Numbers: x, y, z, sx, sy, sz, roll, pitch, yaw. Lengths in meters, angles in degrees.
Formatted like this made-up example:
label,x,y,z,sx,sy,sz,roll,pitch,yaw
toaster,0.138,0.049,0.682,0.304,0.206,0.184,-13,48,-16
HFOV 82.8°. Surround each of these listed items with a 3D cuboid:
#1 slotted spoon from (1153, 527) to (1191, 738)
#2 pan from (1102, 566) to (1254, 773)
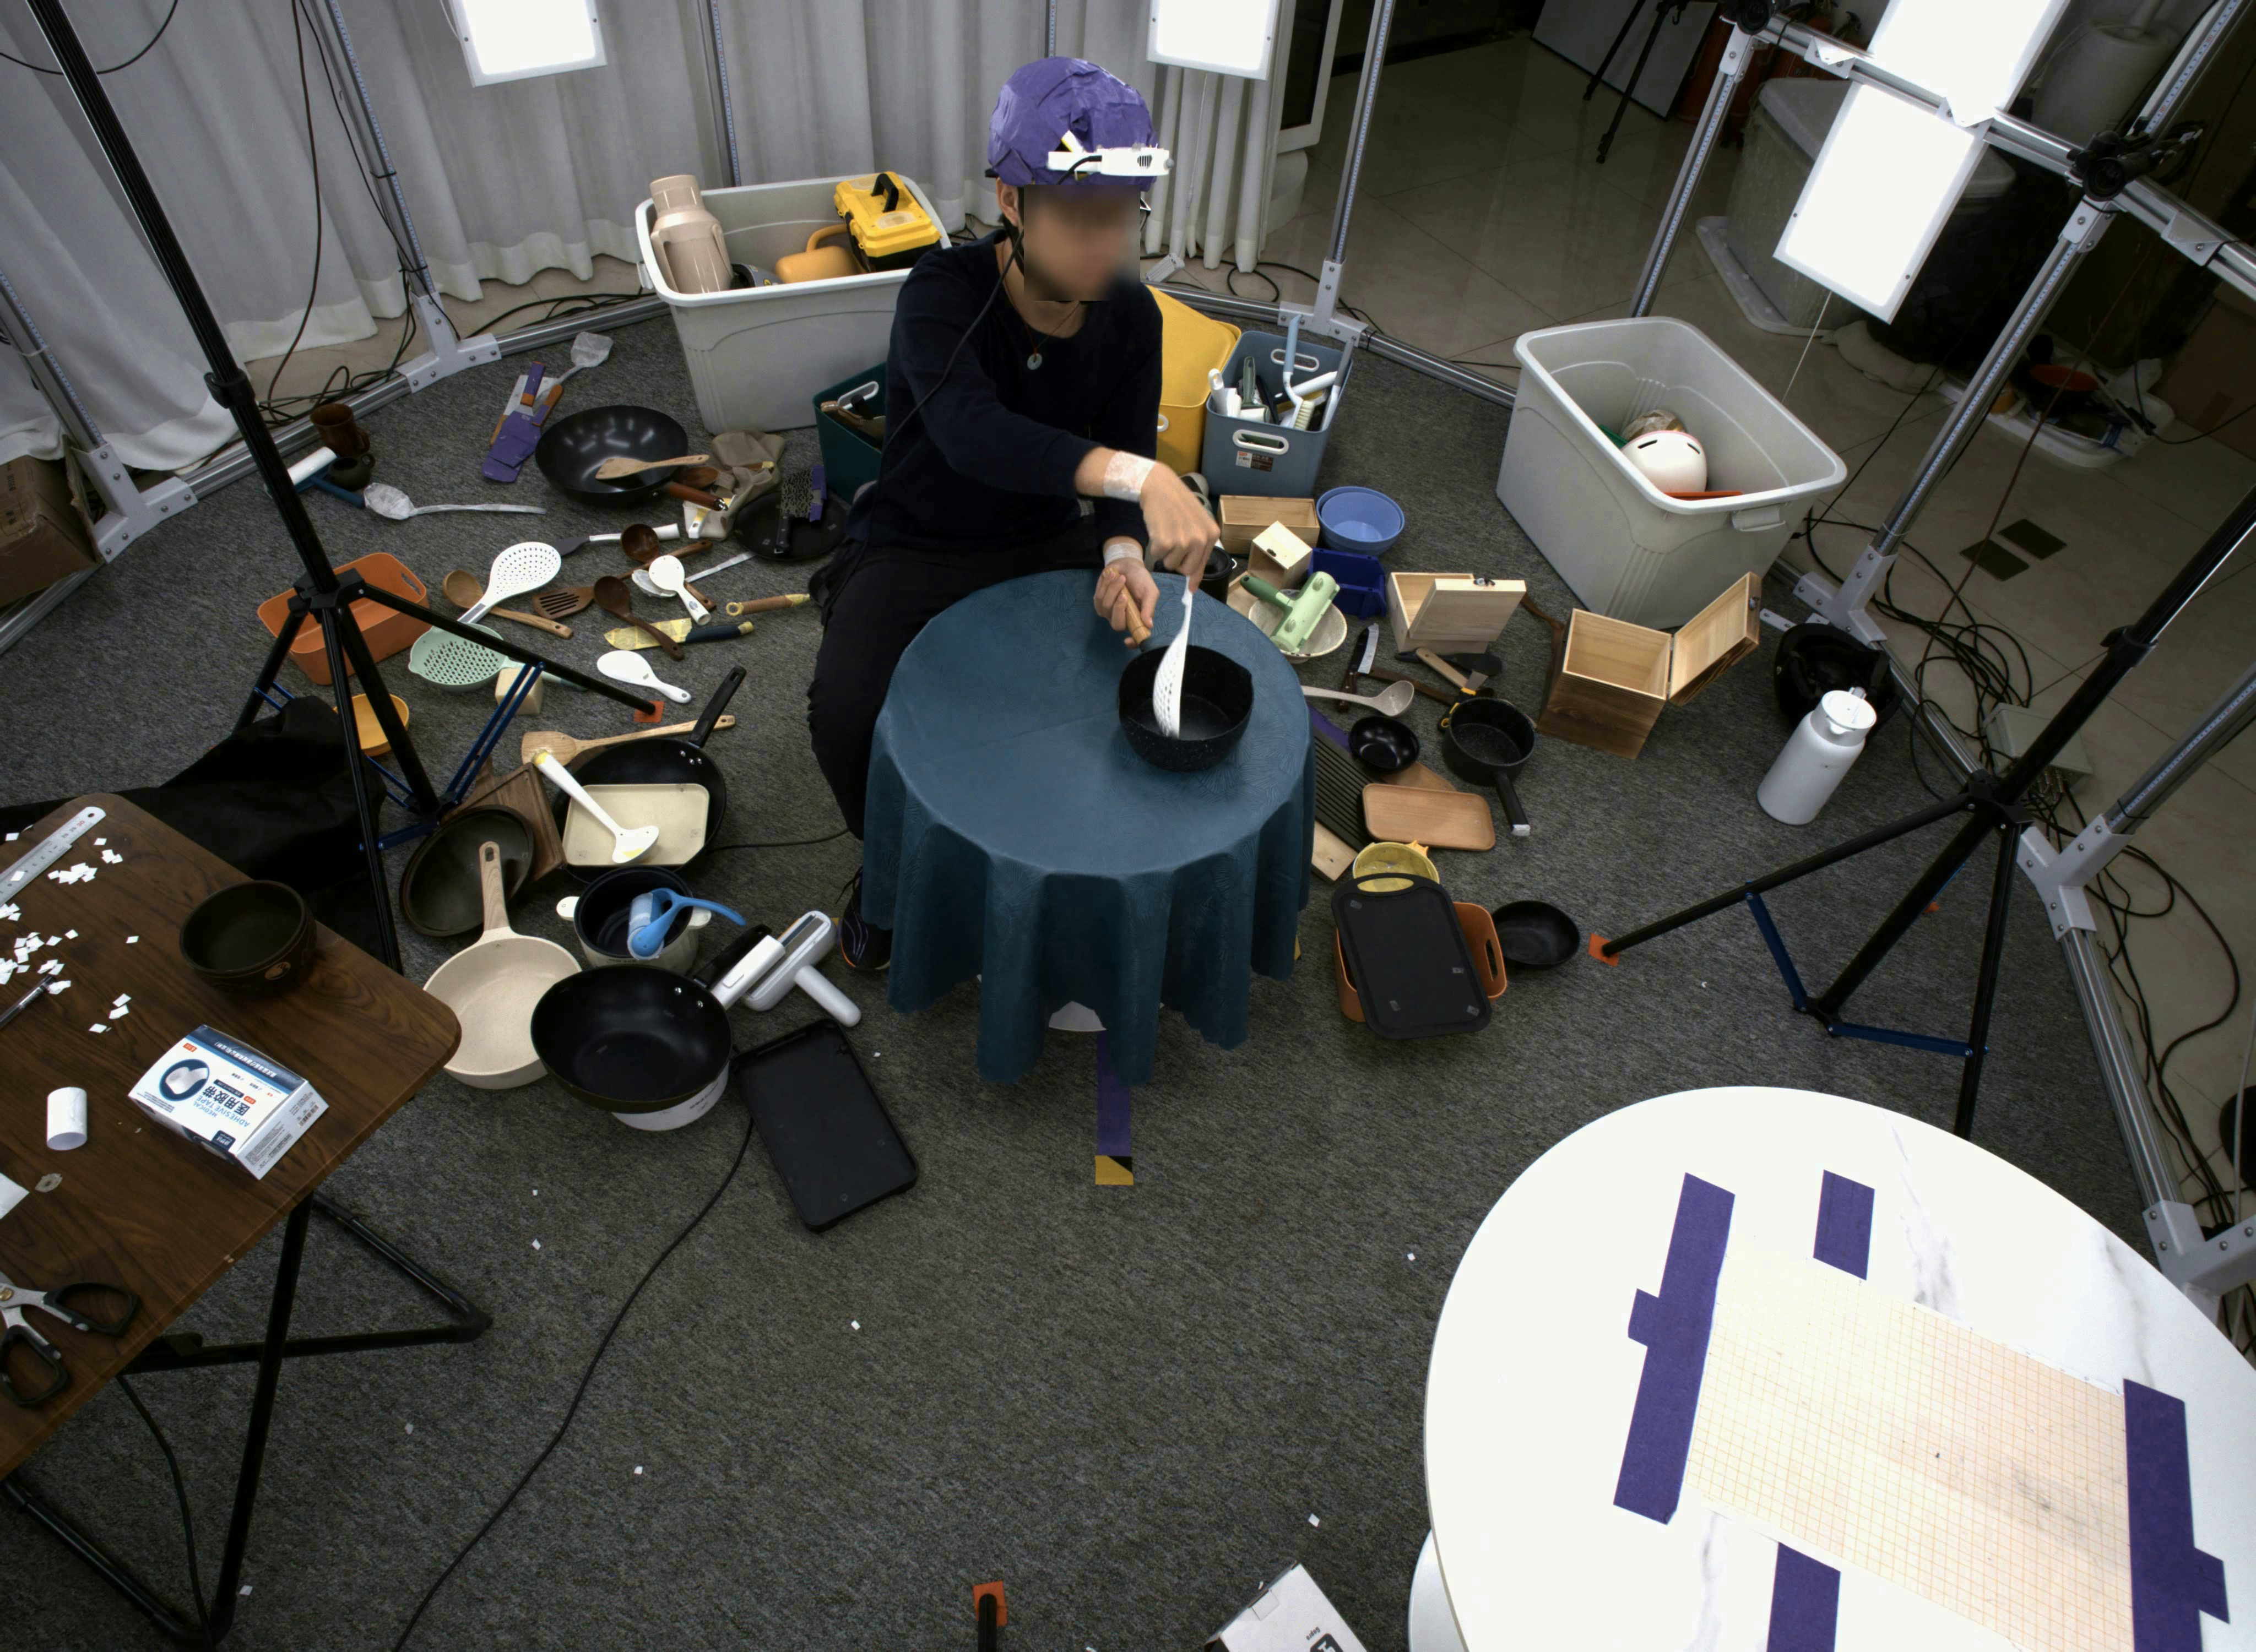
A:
label,x,y,z,sx,sy,sz,roll,pitch,yaw
slotted spoon,0.064,-0.240,1.642,0.050,0.340,0.140,7,48,-1
pan,0.041,-0.220,1.792,0.208,0.105,0.350,-19,54,-18
